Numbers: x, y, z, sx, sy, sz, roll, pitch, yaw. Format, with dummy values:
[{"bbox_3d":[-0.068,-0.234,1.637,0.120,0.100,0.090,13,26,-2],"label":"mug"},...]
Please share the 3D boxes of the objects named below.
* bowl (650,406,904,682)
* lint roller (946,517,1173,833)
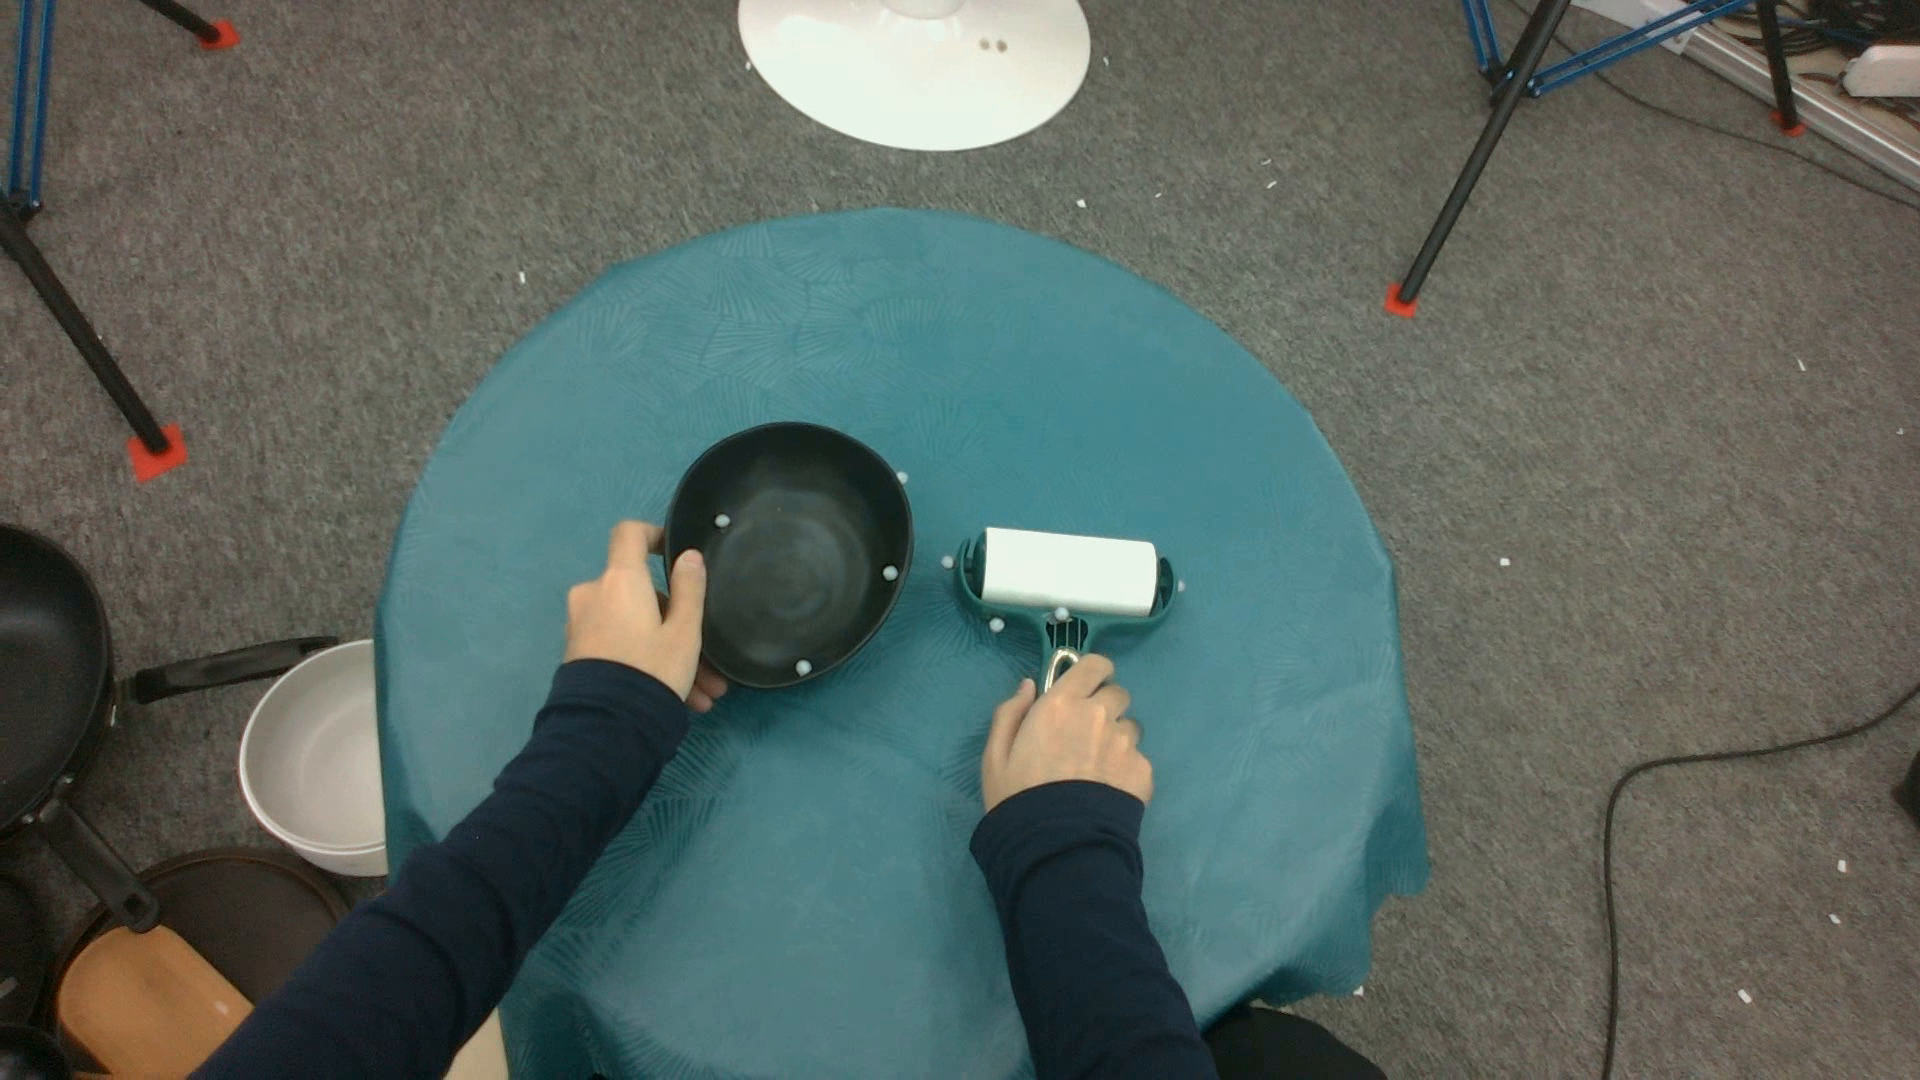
[{"bbox_3d":[-0.103,0.008,0.779,0.137,0.066,0.171,8,60,-3],"label":"bowl"},{"bbox_3d":[0.055,0.070,0.772,0.134,0.048,0.181,6,56,-6],"label":"lint roller"}]
